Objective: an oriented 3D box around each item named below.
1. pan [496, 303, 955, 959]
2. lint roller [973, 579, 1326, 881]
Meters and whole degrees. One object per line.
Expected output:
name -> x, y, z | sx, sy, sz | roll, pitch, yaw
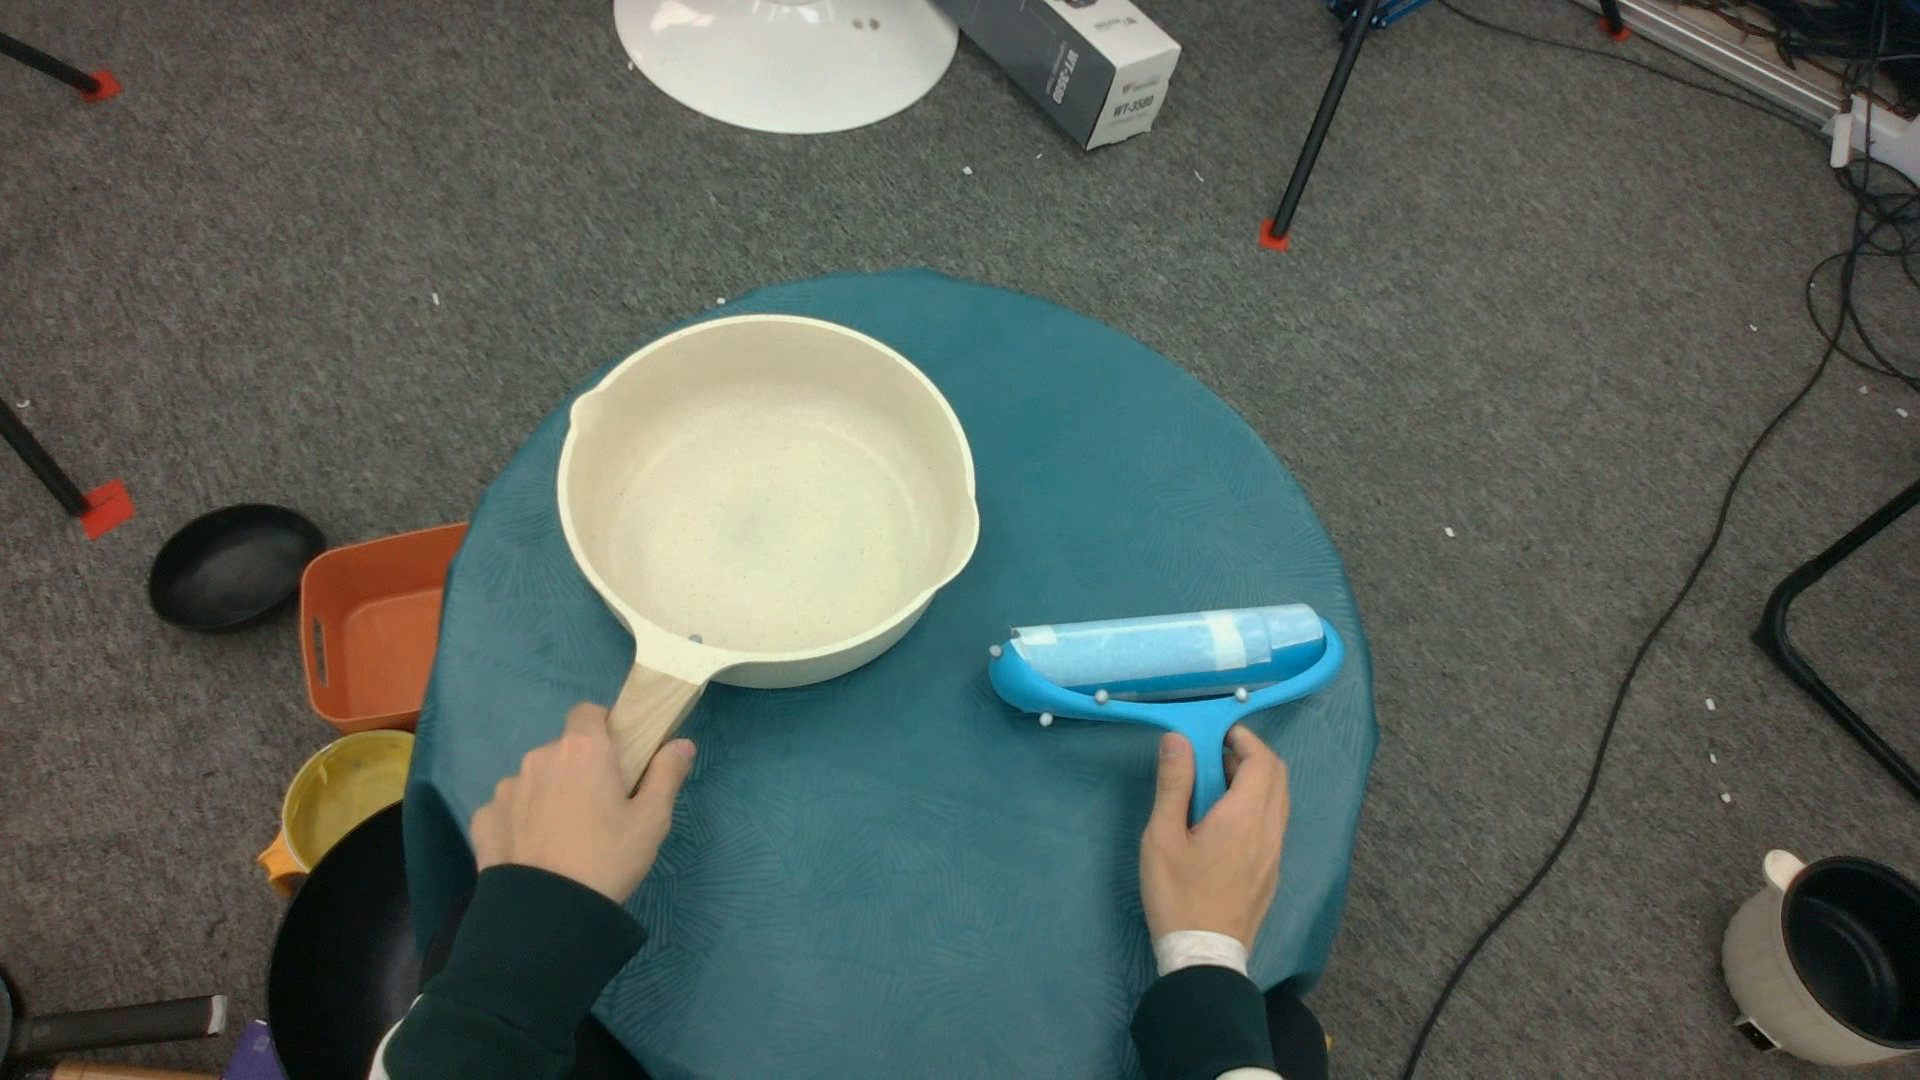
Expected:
pan -> -0.161, 0.045, 0.816 | 0.263, 0.101, 0.437 | 19, 59, 2
lint roller -> 0.134, 0.112, 0.843 | 0.229, 0.067, 0.181 | -7, 60, -14
